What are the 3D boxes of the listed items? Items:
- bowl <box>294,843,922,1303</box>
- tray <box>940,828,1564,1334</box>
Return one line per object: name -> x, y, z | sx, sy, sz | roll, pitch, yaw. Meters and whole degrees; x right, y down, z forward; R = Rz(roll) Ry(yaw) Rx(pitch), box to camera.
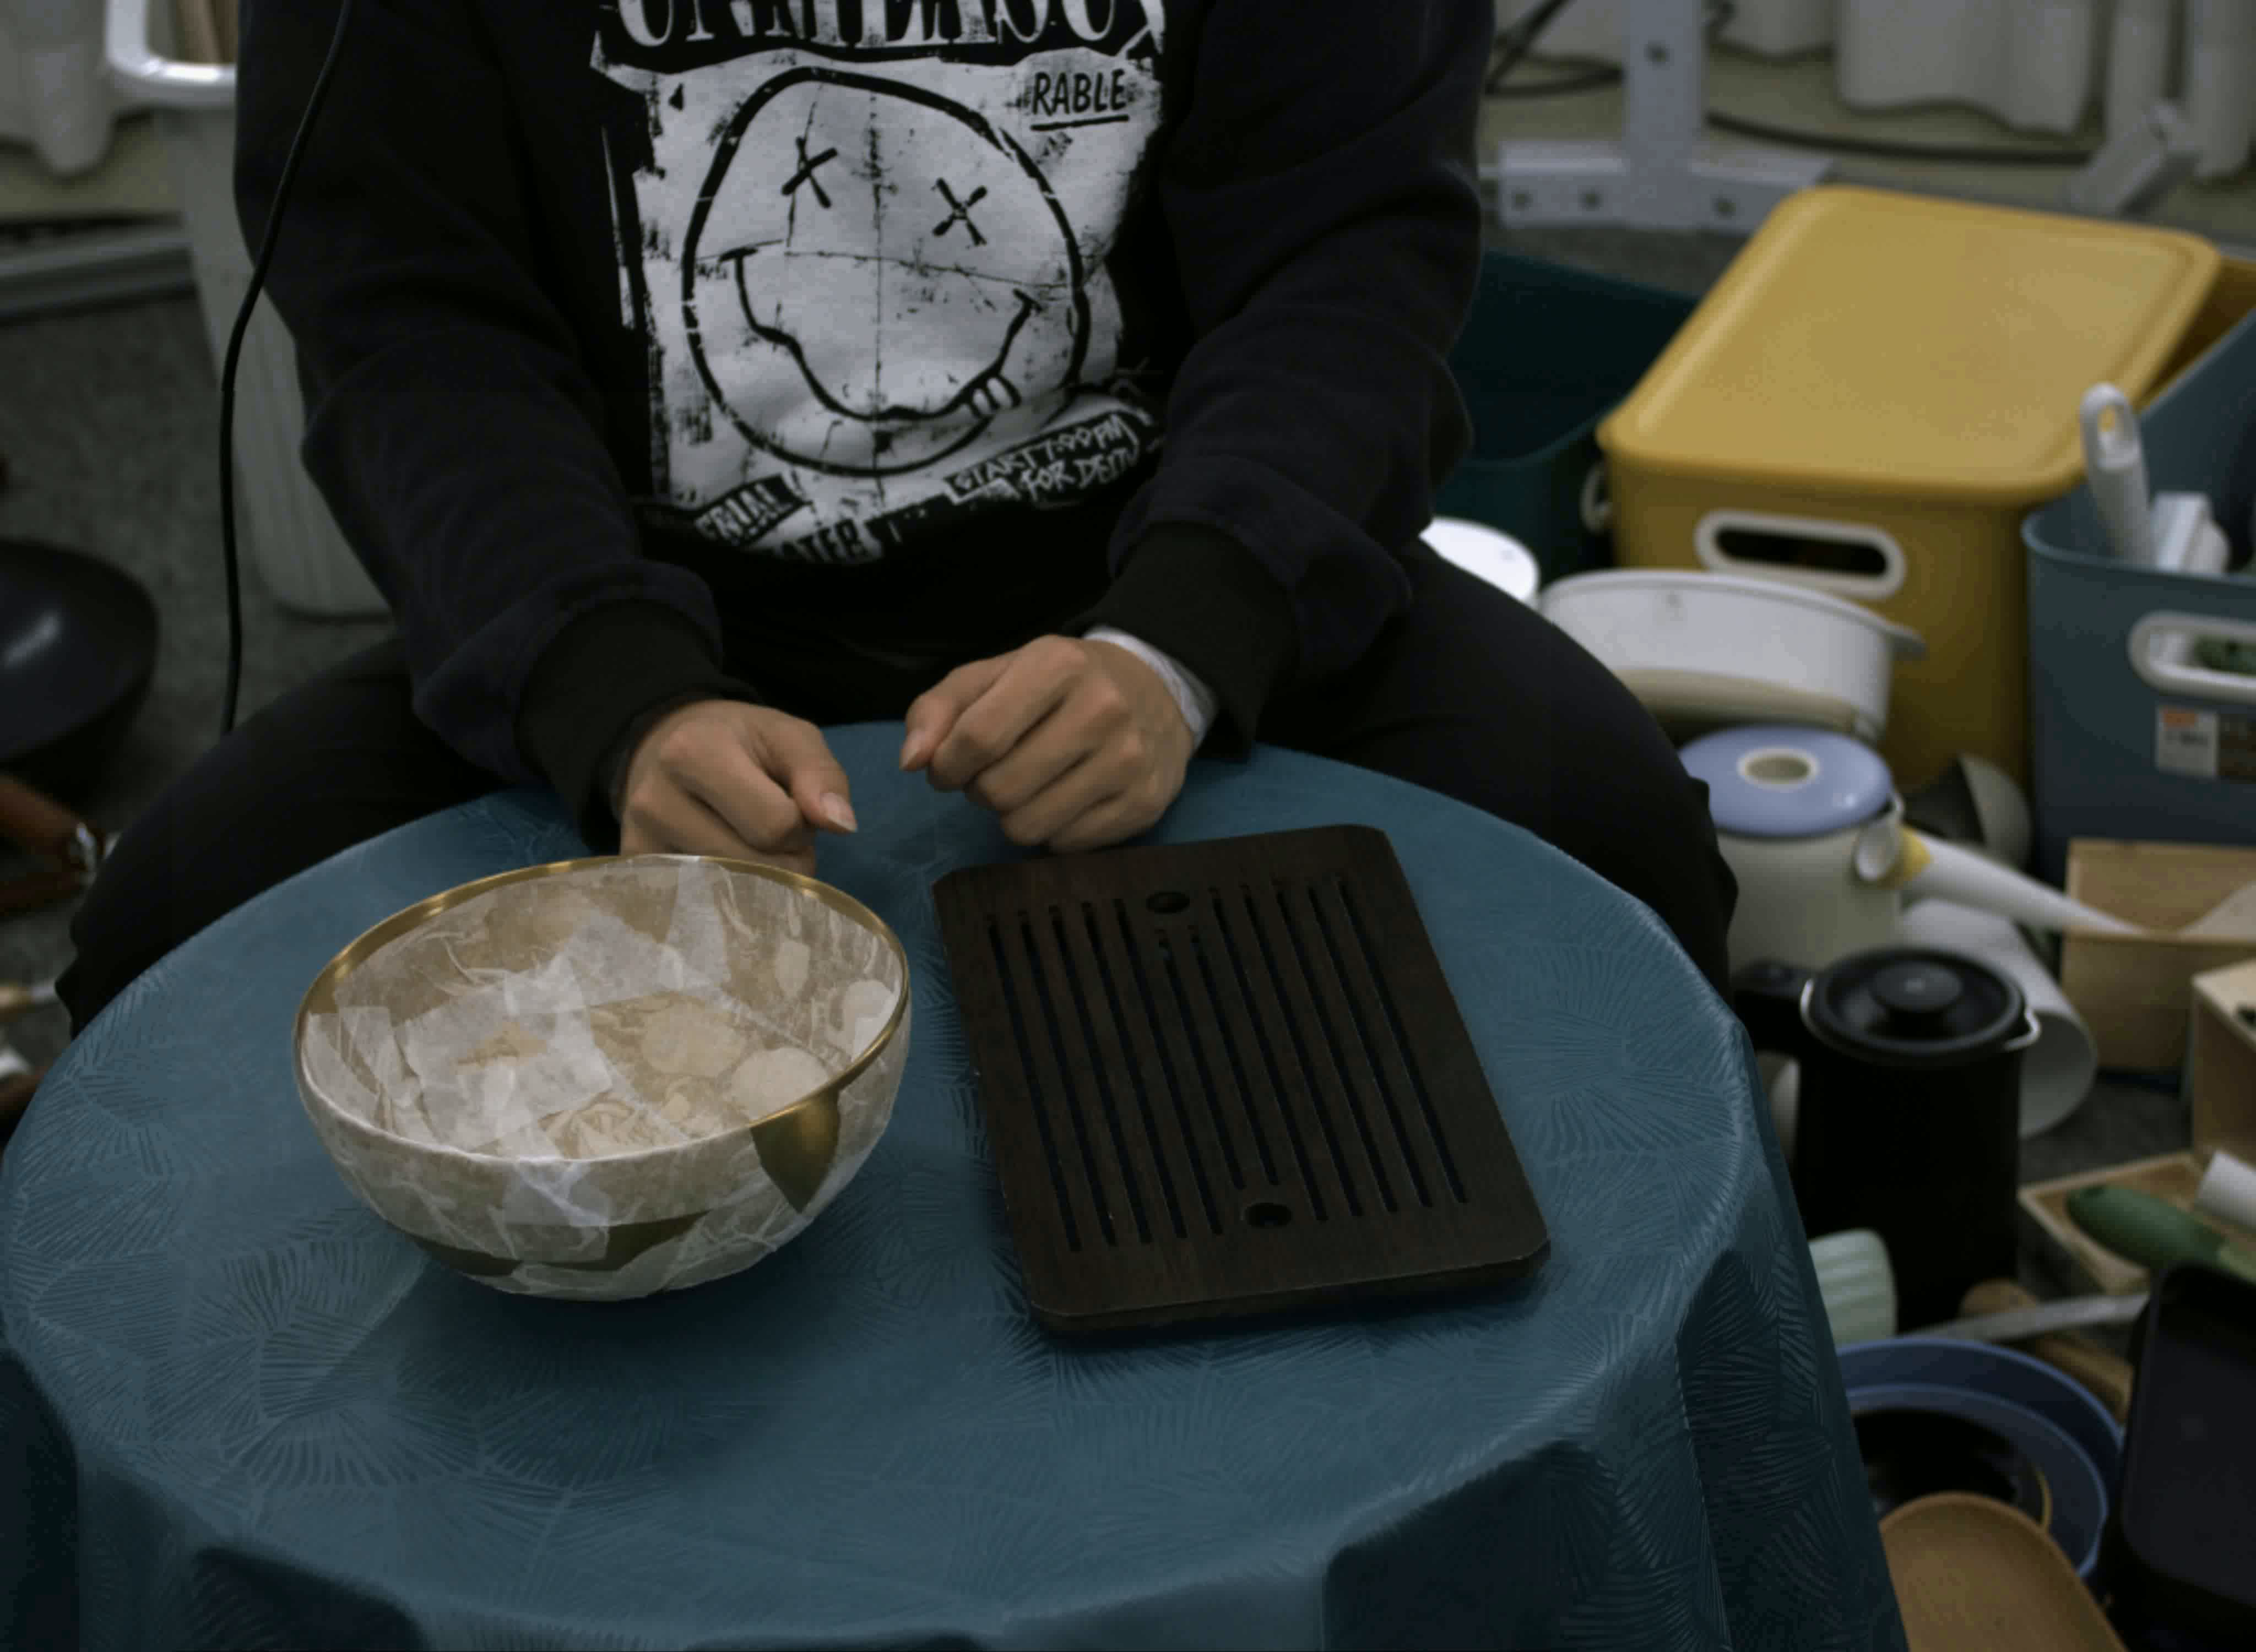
bowl -> -0.163, 0.093, 1.833 | 0.213, 0.093, 0.218 | -3, 27, 2
tray -> 0.036, 0.084, 1.911 | 0.170, 0.018, 0.310 | -6, 27, -6
